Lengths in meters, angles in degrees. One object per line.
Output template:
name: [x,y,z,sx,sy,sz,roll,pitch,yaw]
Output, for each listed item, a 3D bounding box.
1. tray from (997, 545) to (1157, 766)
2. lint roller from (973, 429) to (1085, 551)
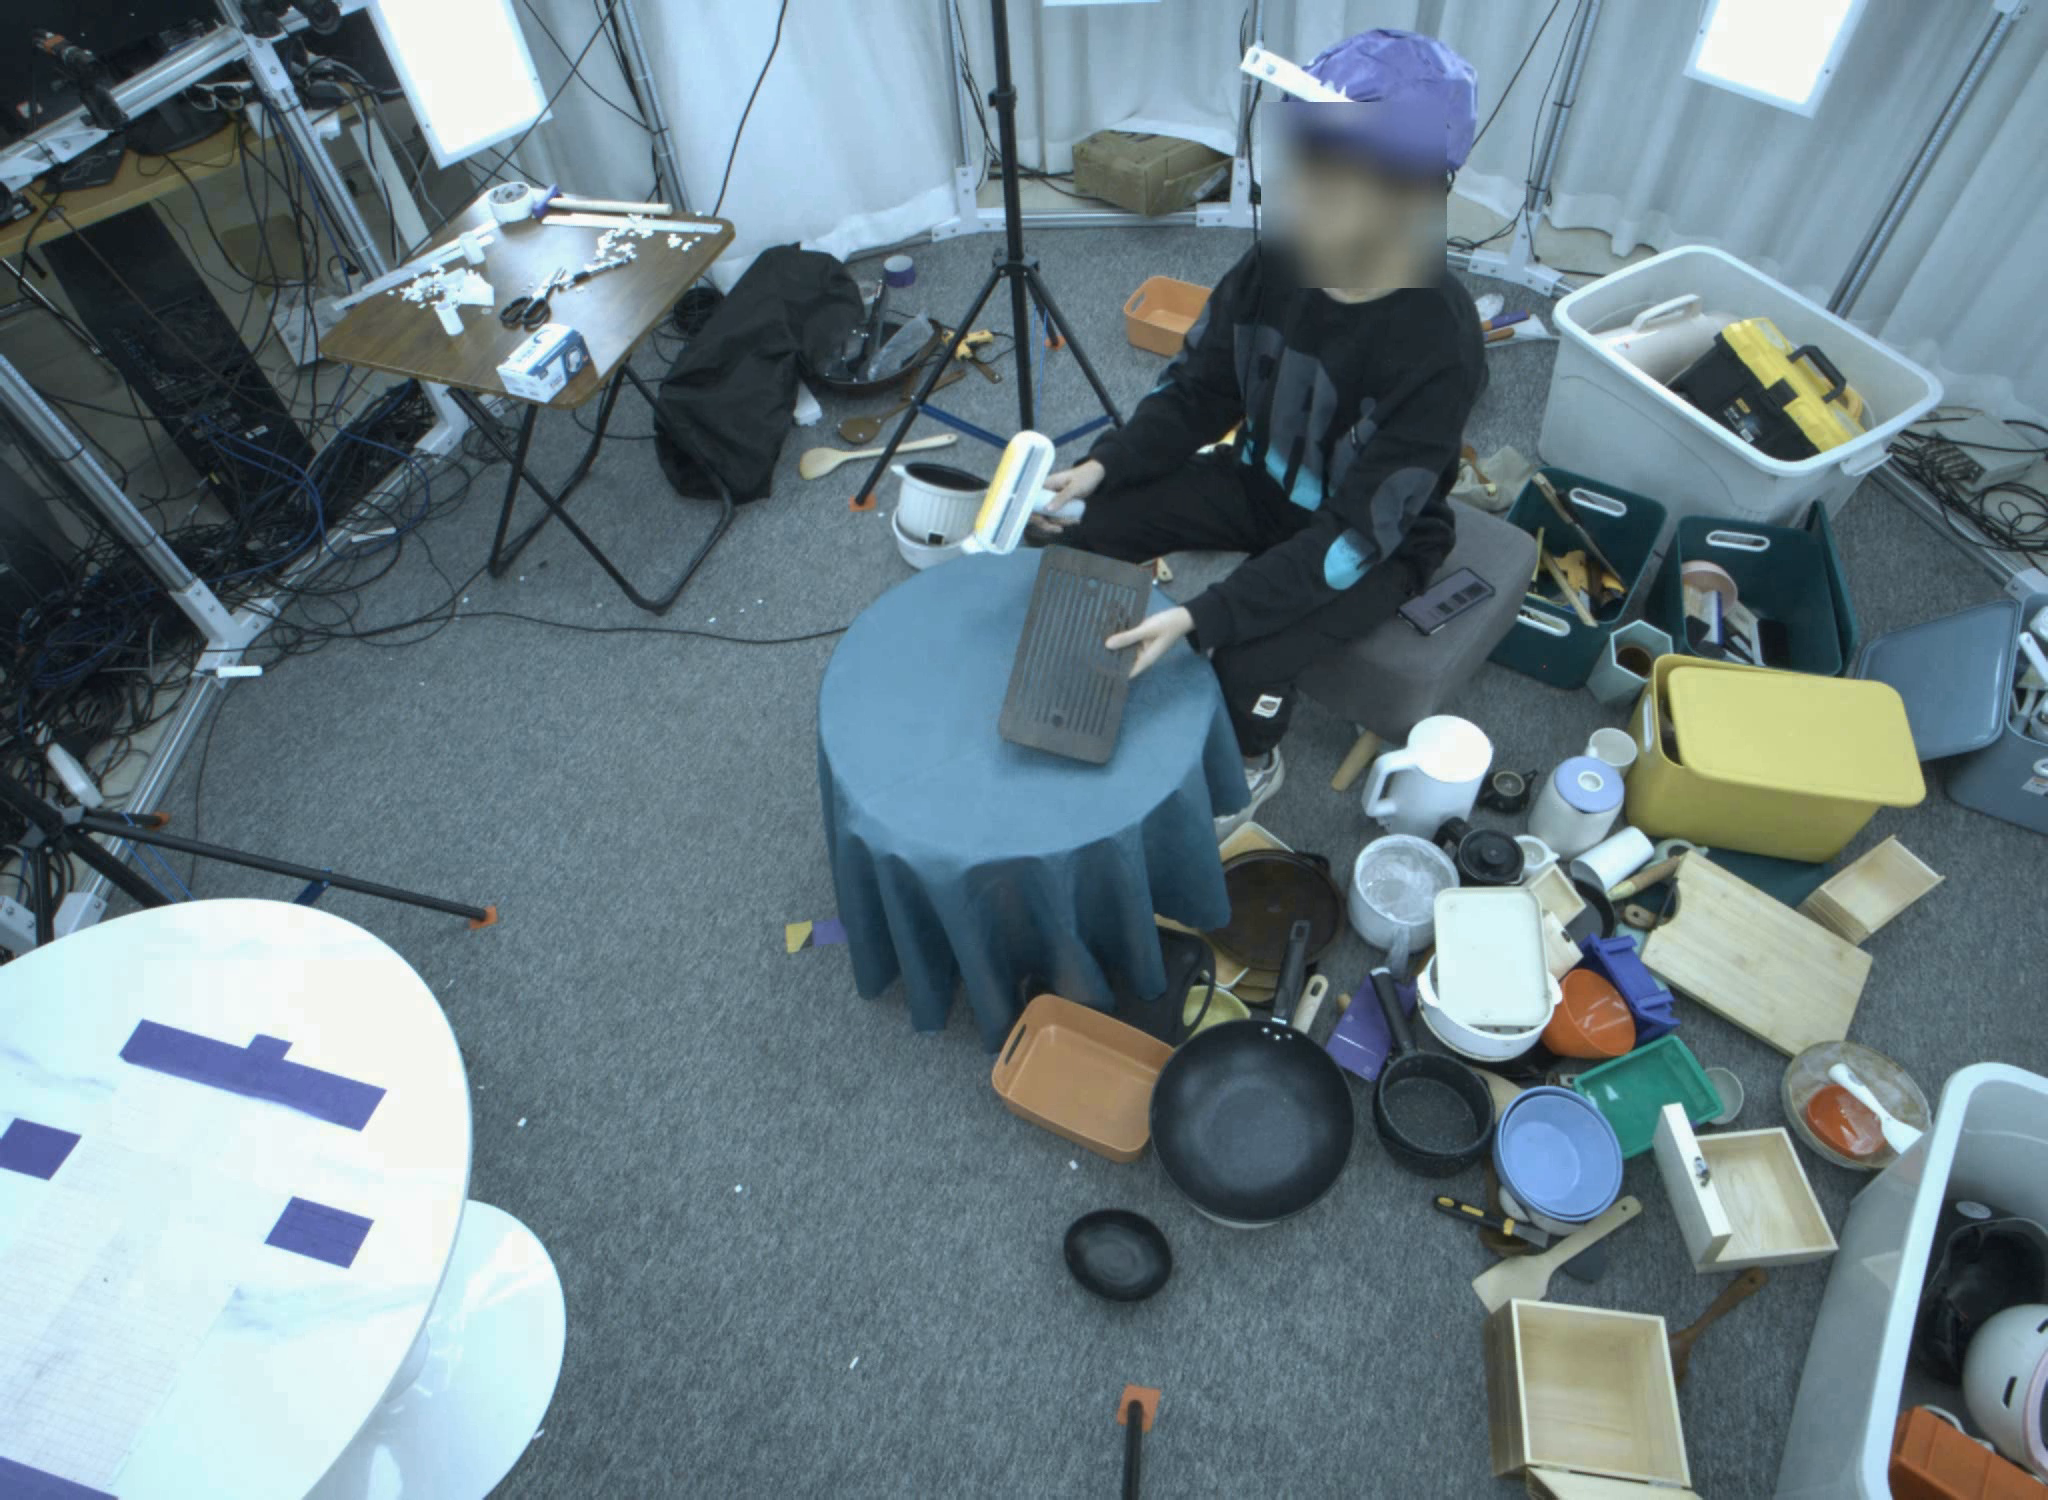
tray: [0.078,-0.139,1.780,0.170,0.018,0.305,15,78,-1]
lint roller: [0.026,-0.384,1.885,0.197,0.193,0.072,14,16,-38]
